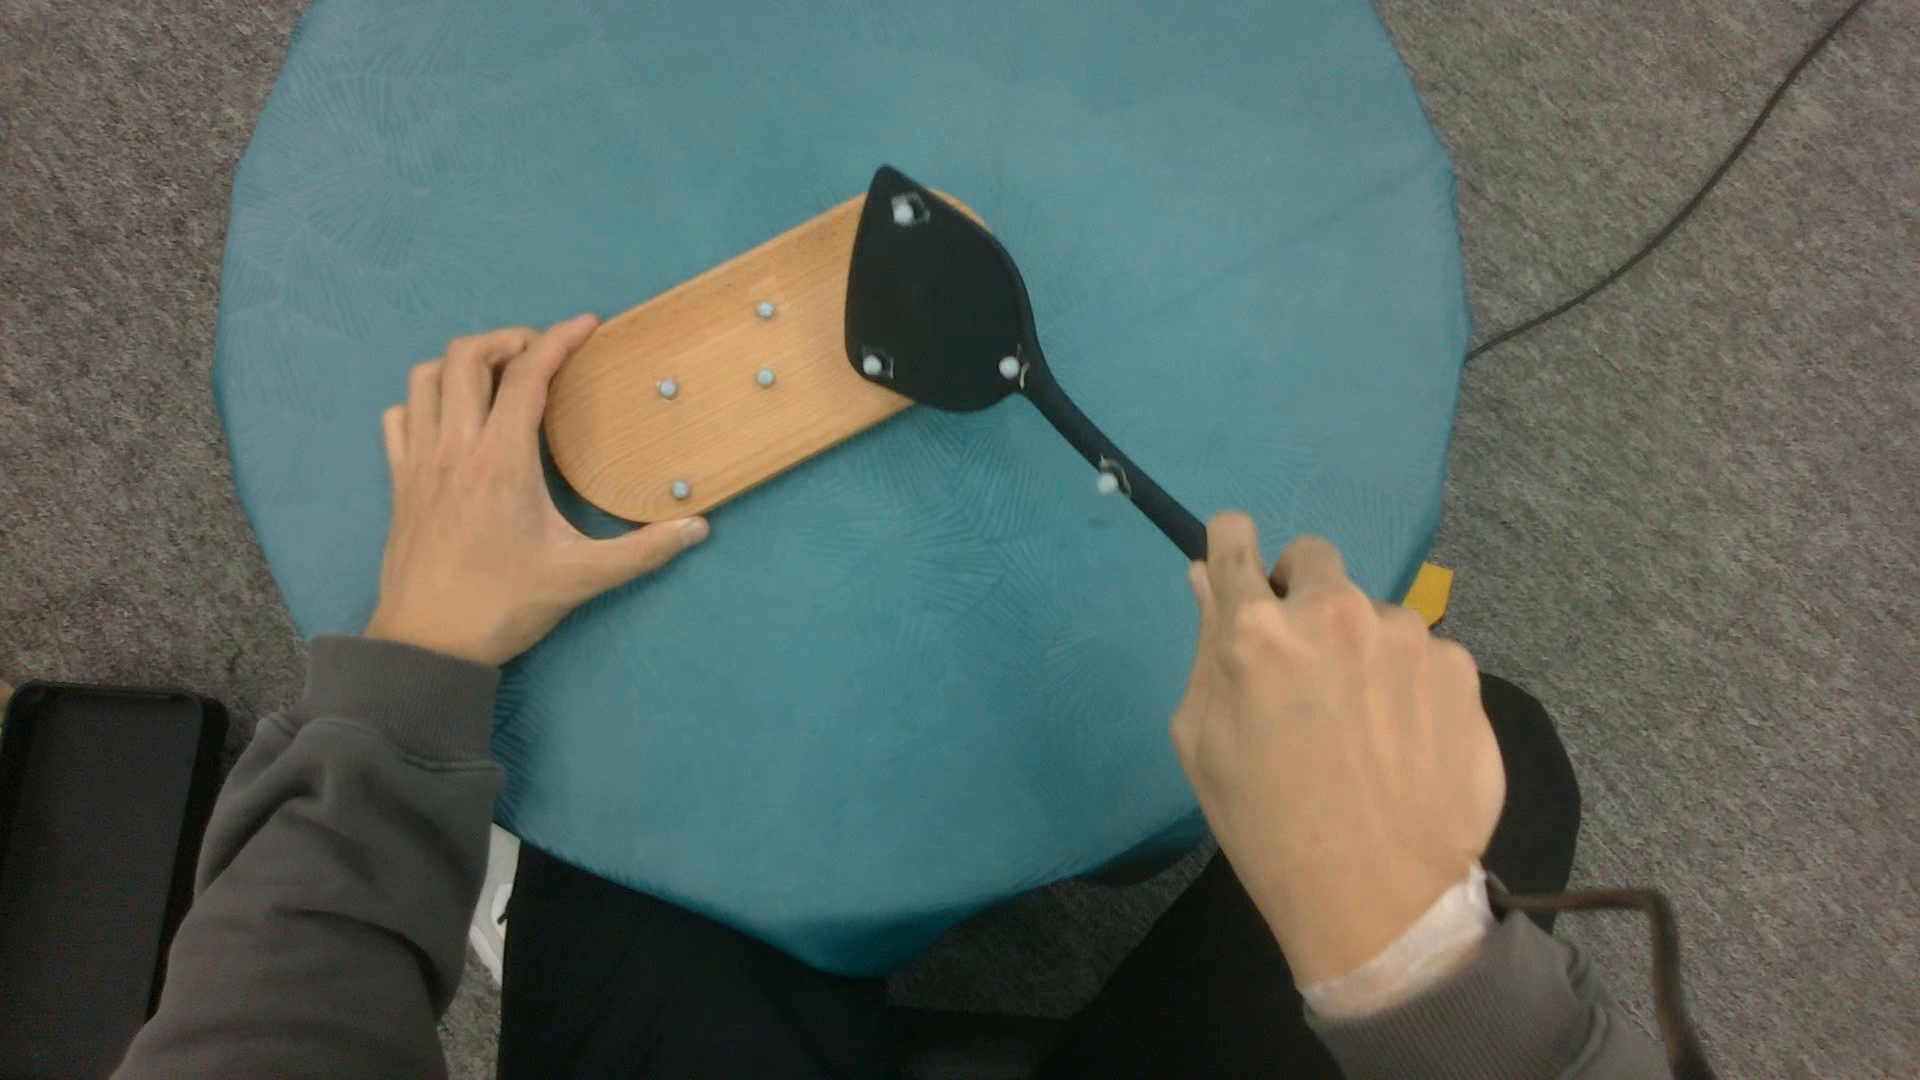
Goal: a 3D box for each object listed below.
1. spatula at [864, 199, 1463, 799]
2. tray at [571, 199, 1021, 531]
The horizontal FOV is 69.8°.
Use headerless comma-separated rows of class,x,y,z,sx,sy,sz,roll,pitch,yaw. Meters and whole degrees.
spatula,0.062,-0.016,0.529,0.040,0.099,0.326,-15,48,-31
tray,-0.077,-0.085,0.667,0.231,0.020,0.102,-28,83,-6
